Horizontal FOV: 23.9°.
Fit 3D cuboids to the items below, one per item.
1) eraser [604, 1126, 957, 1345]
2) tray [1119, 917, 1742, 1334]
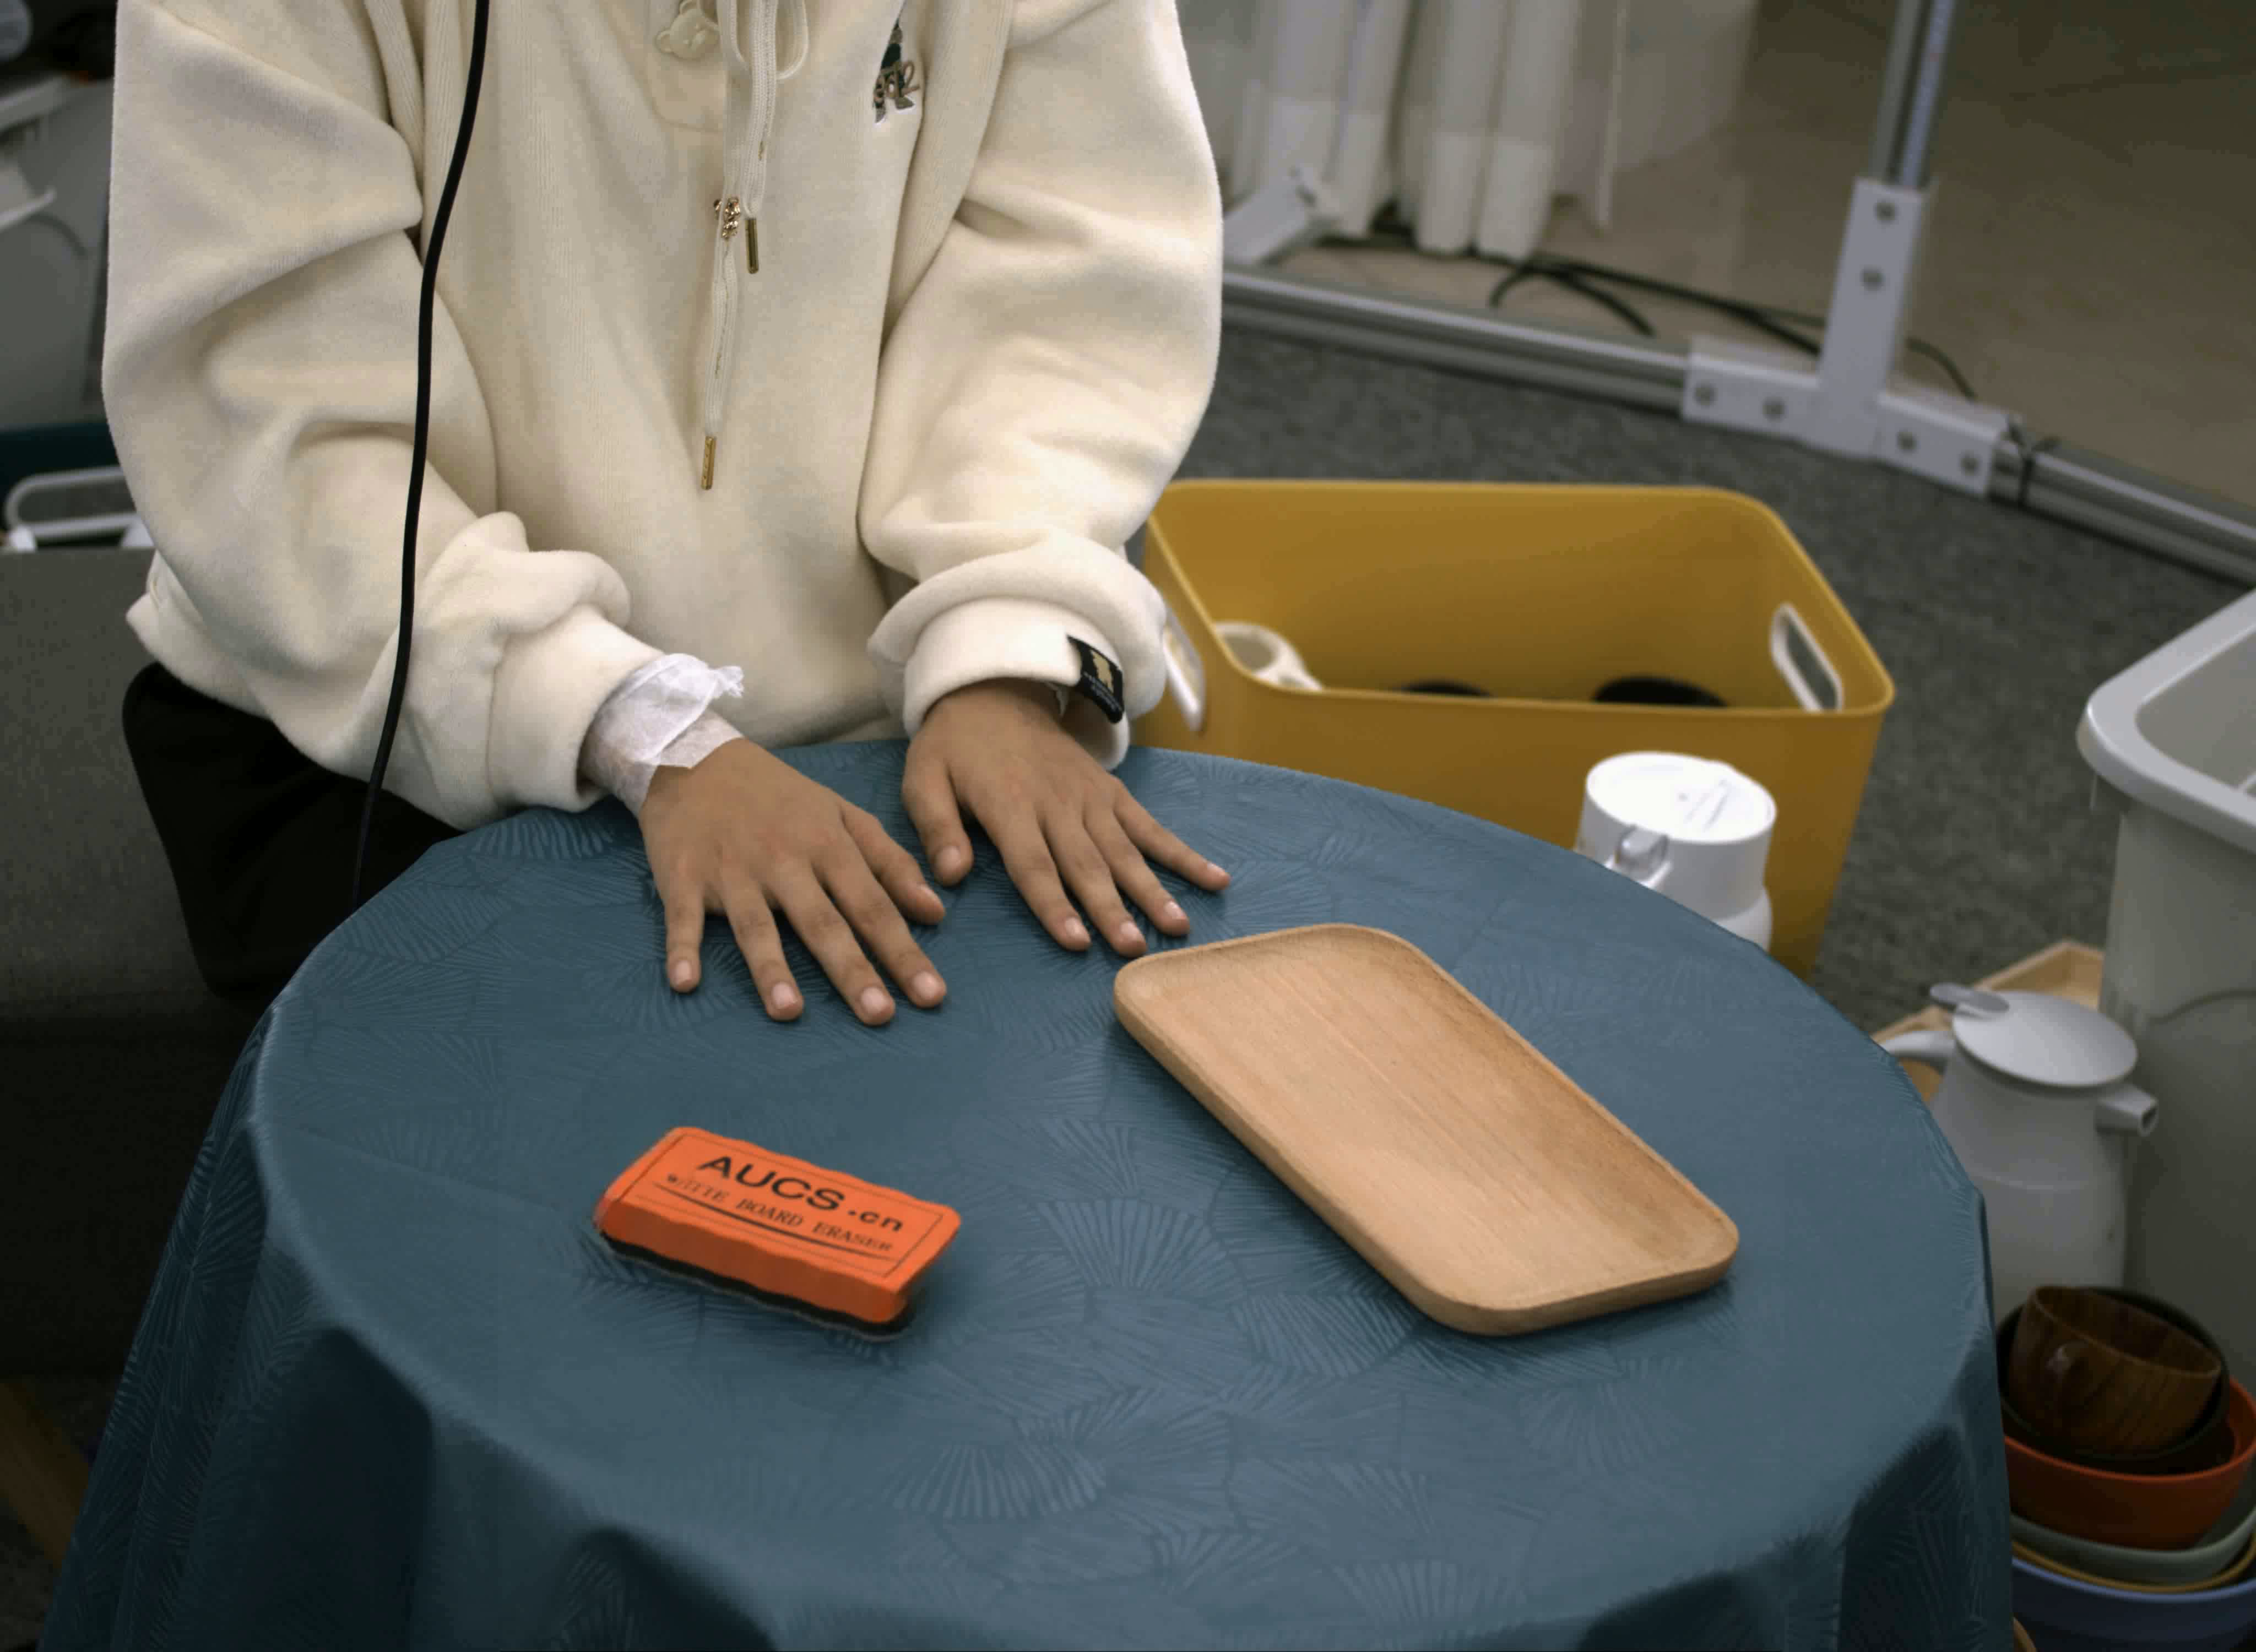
[{"bbox_3d":[-0.114,0.133,1.733,0.108,0.023,0.059,17,30,19],"label":"eraser"},{"bbox_3d":[0.101,0.101,1.848,0.129,0.023,0.253,-6,29,-29],"label":"tray"}]
